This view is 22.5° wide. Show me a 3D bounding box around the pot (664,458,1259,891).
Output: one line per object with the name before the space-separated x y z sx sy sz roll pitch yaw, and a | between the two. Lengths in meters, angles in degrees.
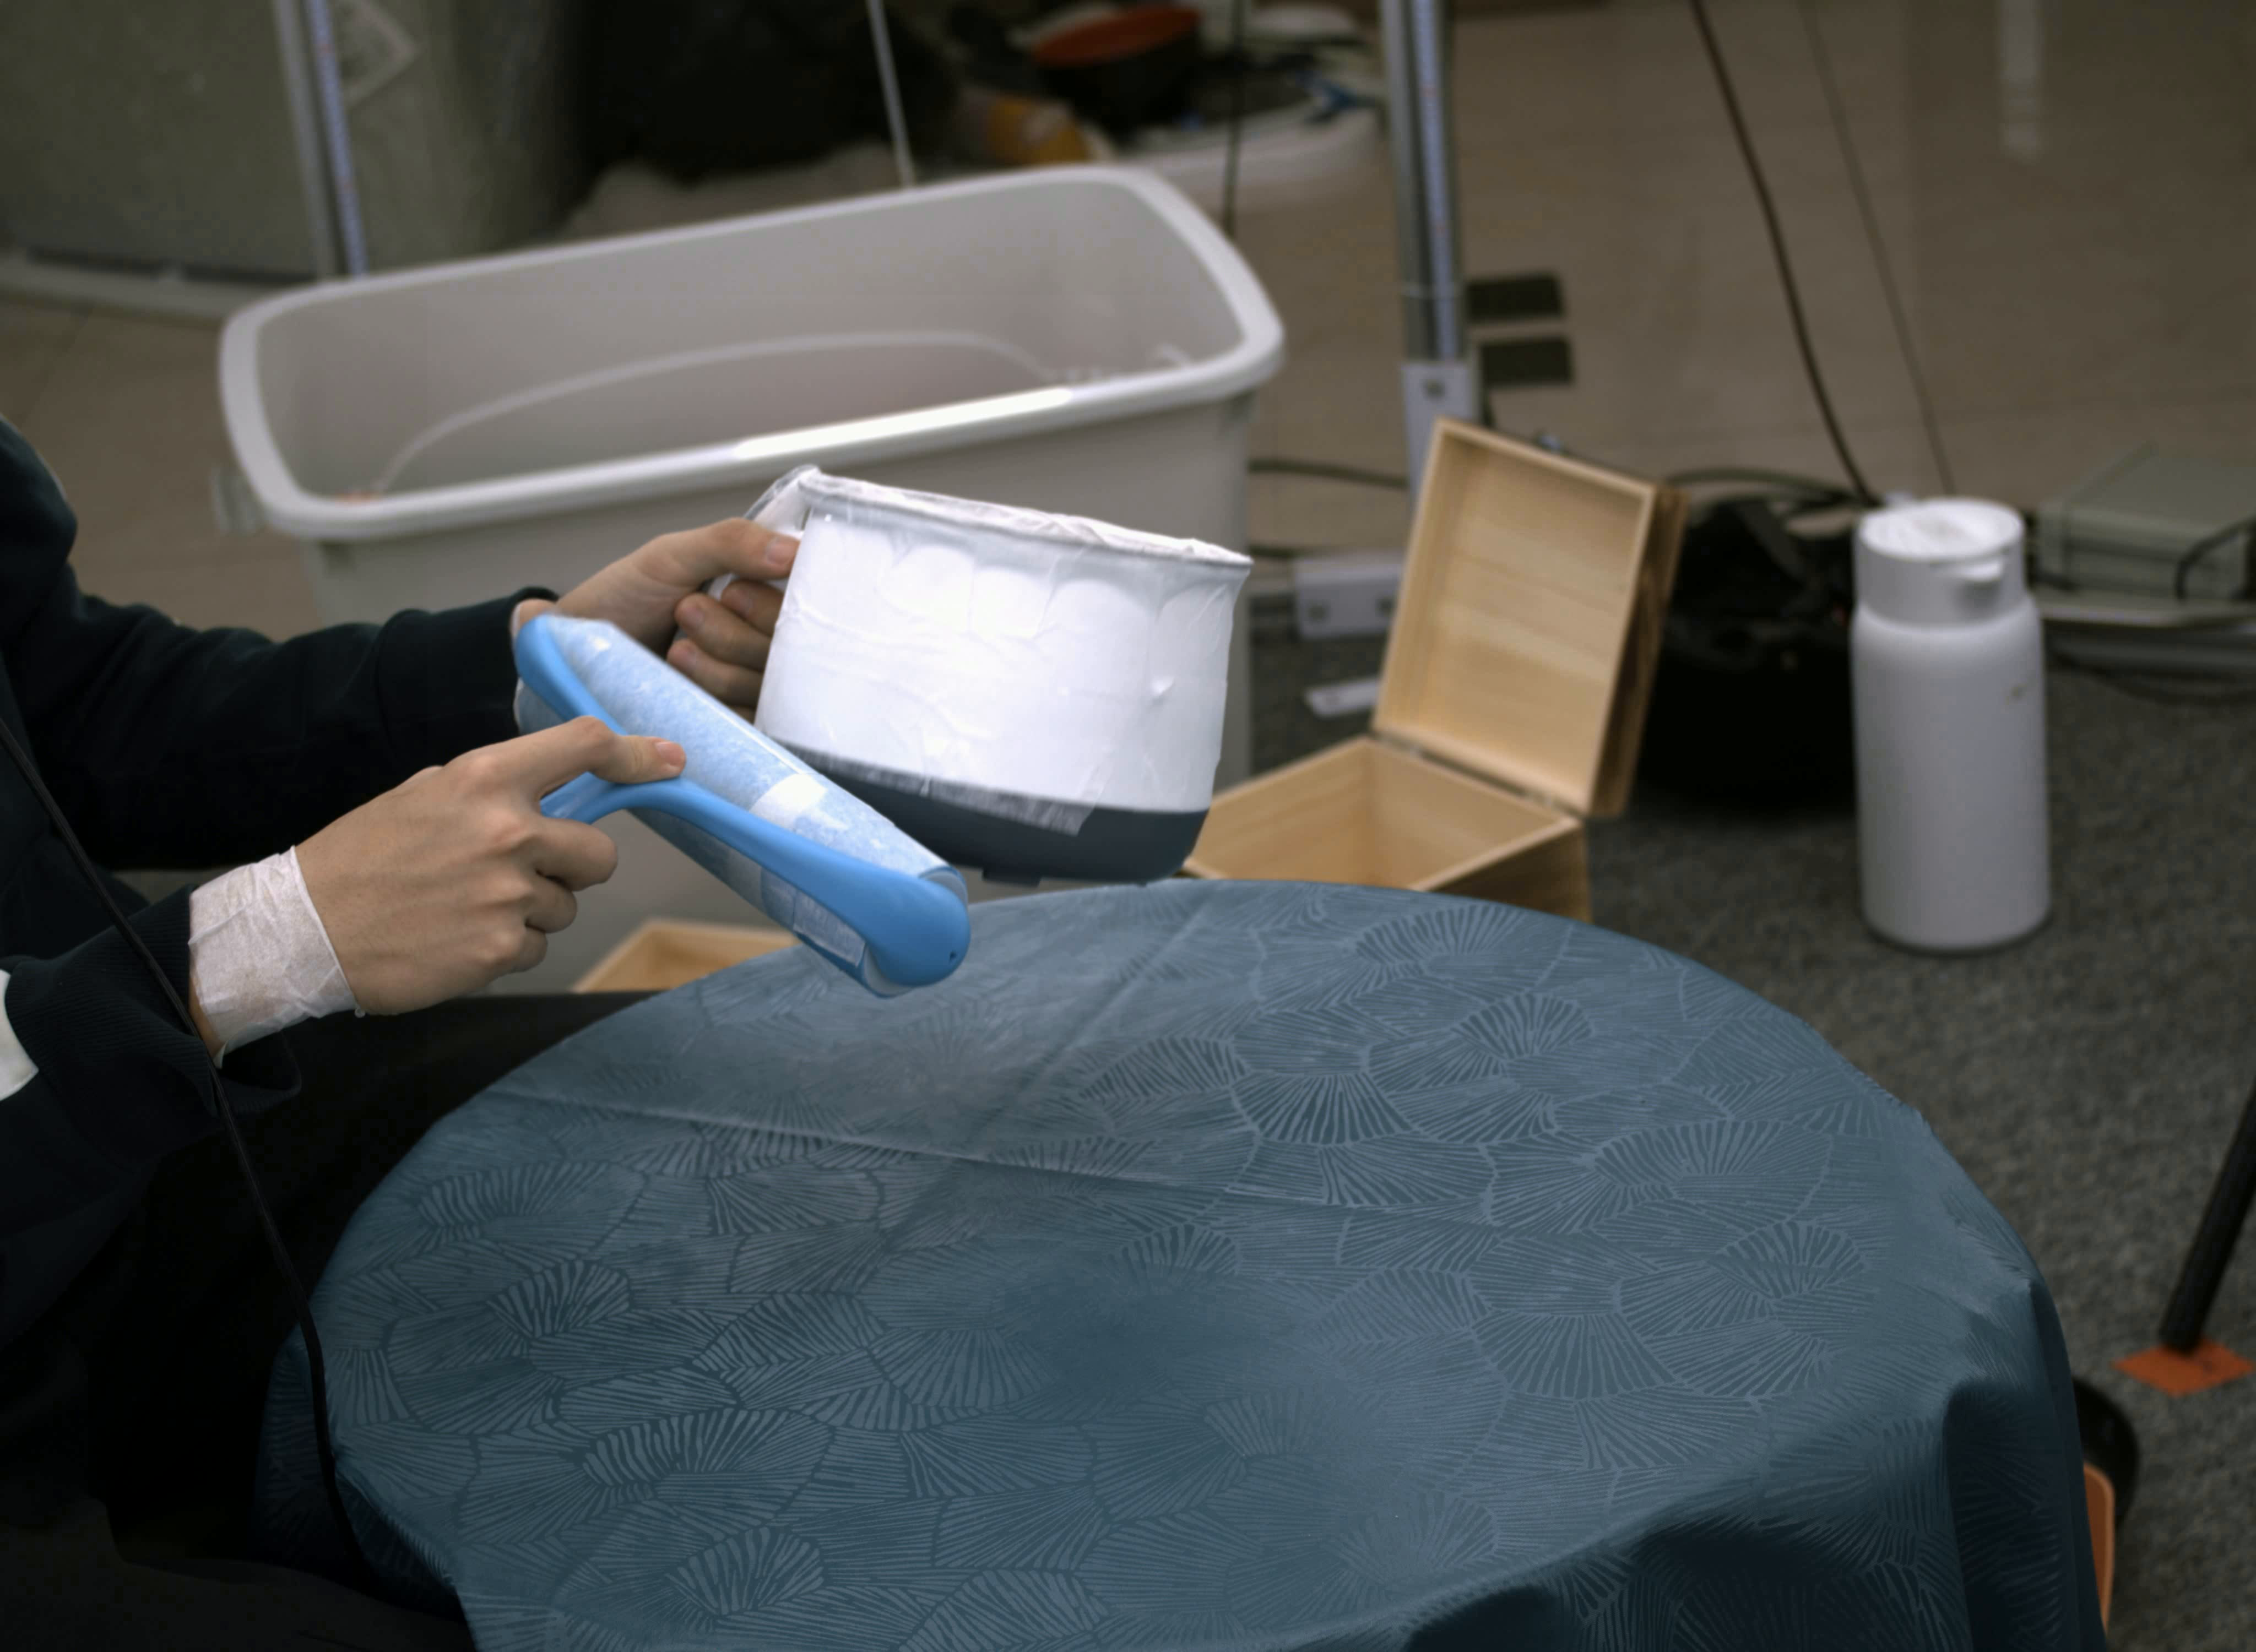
pot | -0.074 -0.060 2.161 0.232 0.137 0.178 15 8 27

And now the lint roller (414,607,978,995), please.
lint roller | -0.179 0.005 2.032 0.226 0.069 0.179 36 36 26
